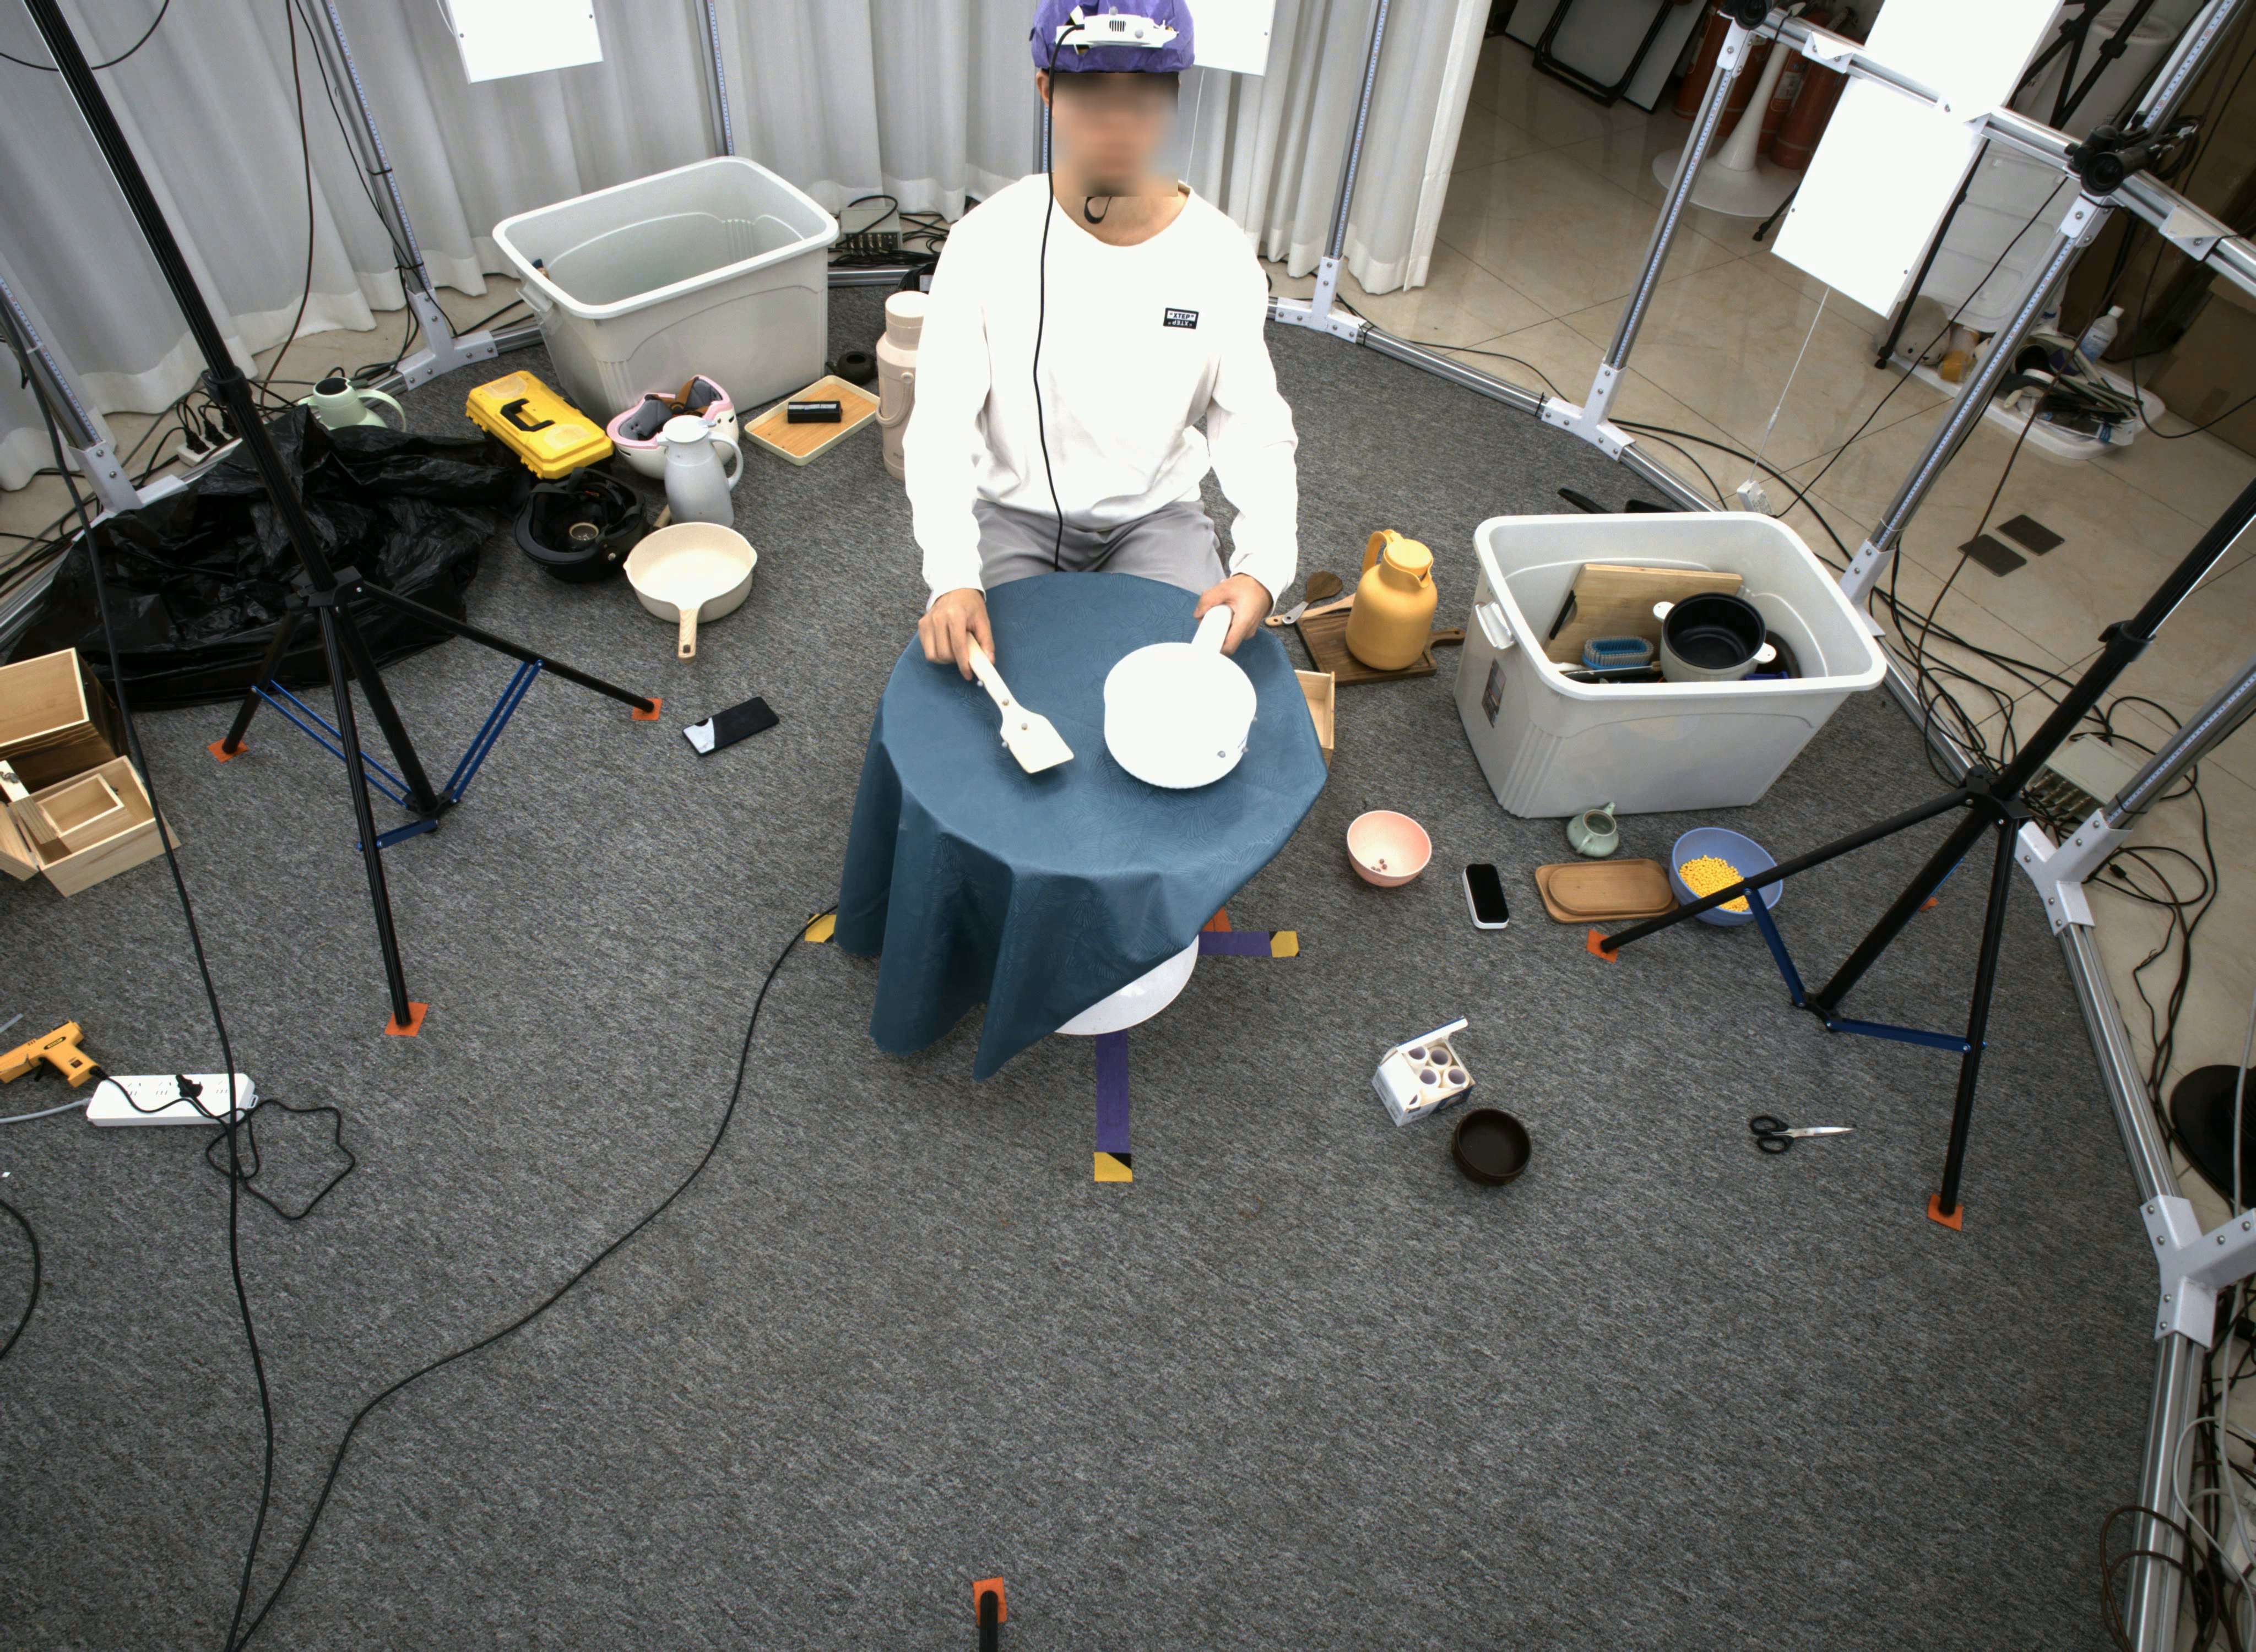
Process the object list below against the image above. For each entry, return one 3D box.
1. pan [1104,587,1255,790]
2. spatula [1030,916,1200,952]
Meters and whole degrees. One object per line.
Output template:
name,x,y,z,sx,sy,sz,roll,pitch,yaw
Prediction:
pan,0.092,-0.193,1.782,0.202,0.099,0.362,14,47,13
spatula,-0.021,0.189,2.205,0.293,0.010,0.074,3,47,-2
